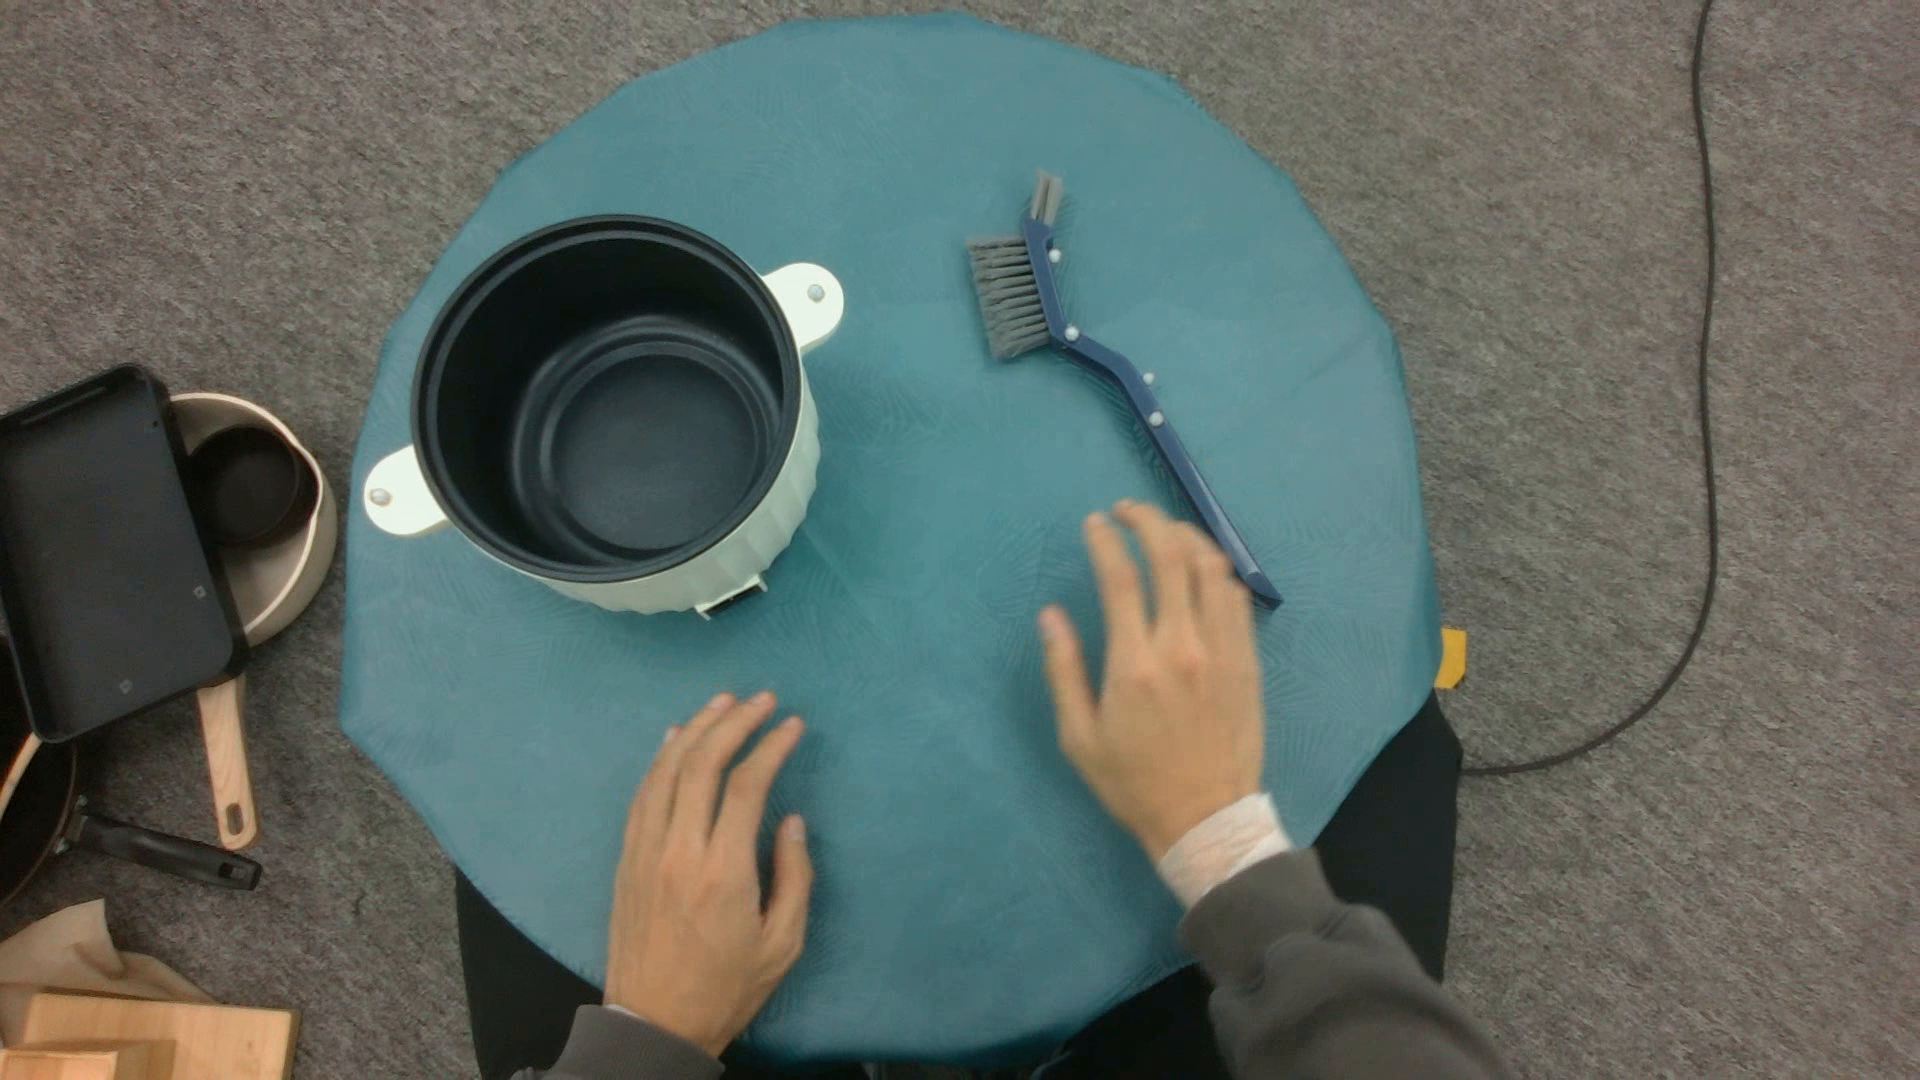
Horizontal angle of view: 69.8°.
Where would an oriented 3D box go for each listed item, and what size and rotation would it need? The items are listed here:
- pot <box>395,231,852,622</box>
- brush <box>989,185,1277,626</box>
[{"bbox_3d":[-0.163,-0.054,0.722,0.240,0.142,0.190,-28,81,-6],"label":"pot"},{"bbox_3d":[0.109,-0.078,0.775,0.096,0.033,0.273,-36,76,-8],"label":"brush"}]
